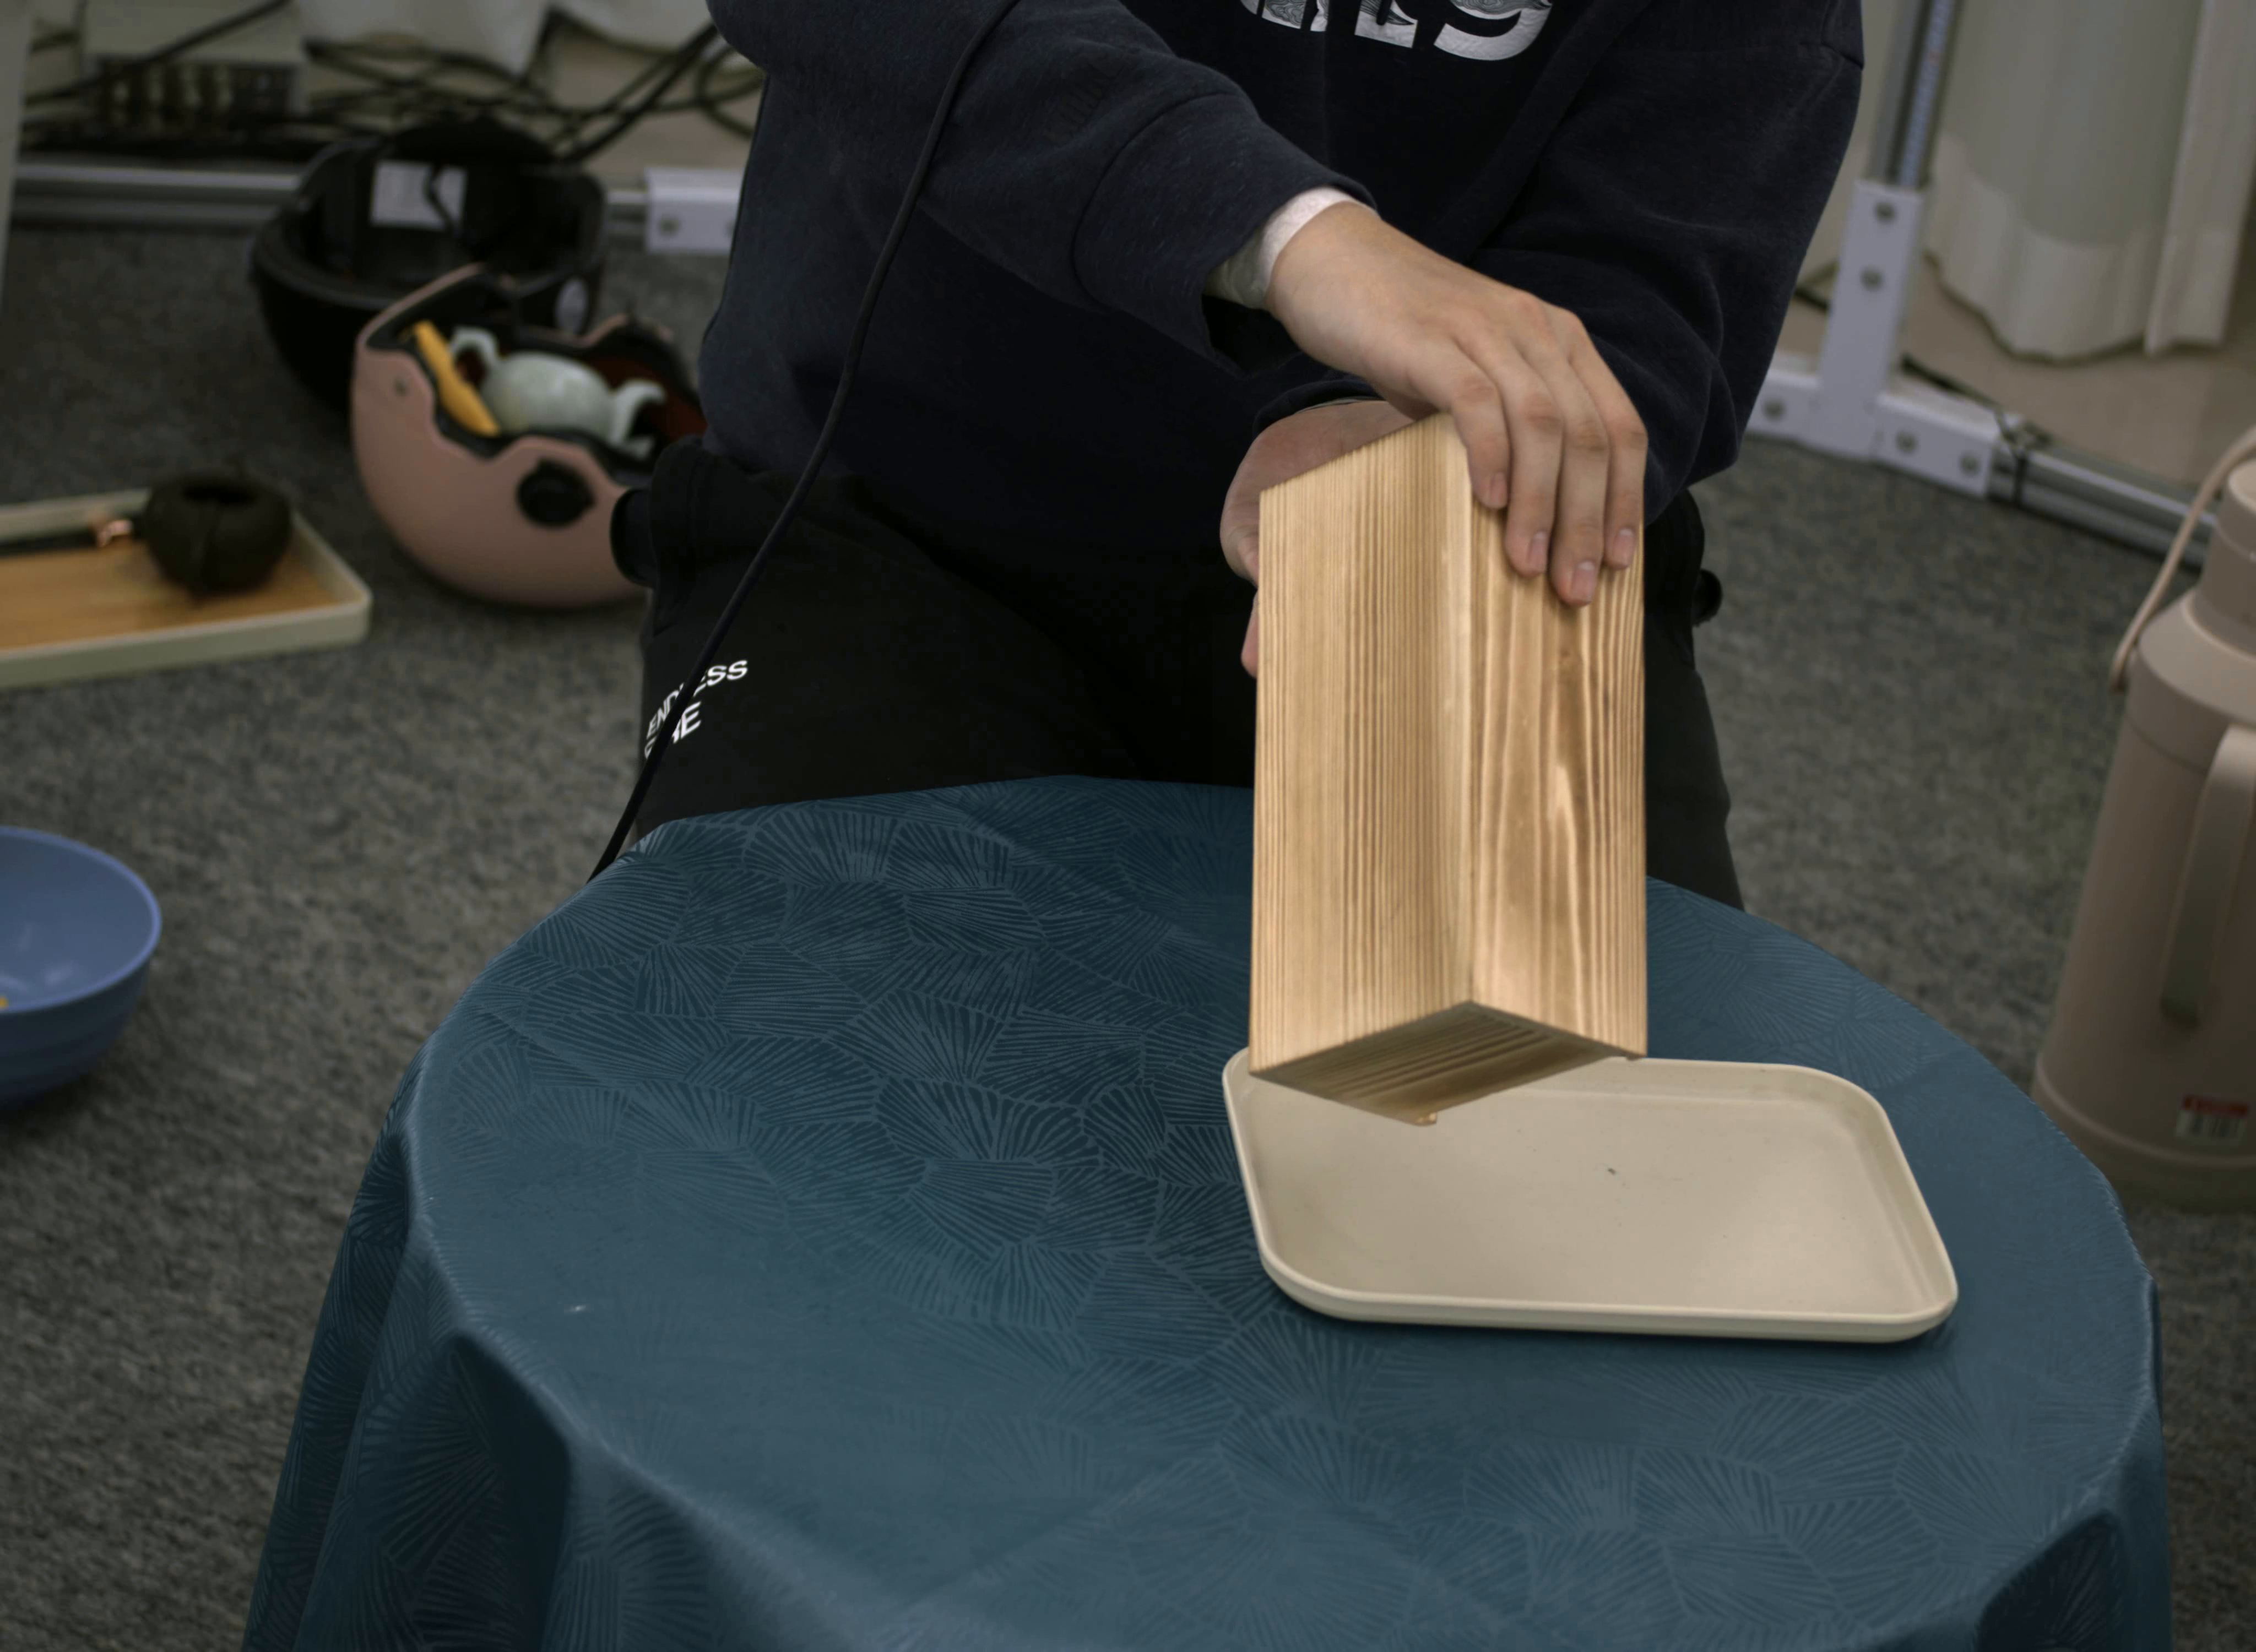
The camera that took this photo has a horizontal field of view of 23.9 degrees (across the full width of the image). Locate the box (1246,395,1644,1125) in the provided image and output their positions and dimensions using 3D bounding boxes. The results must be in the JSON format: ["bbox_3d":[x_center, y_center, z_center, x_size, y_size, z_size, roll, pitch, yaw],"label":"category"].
[{"bbox_3d":[0.104,-0.021,1.759,0.079,0.213,0.108,19,-27,-36],"label":"box"}]

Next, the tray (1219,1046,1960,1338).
[{"bbox_3d":[0.155,0.126,1.820,0.238,0.017,0.172,3,26,-8],"label":"tray"}]
